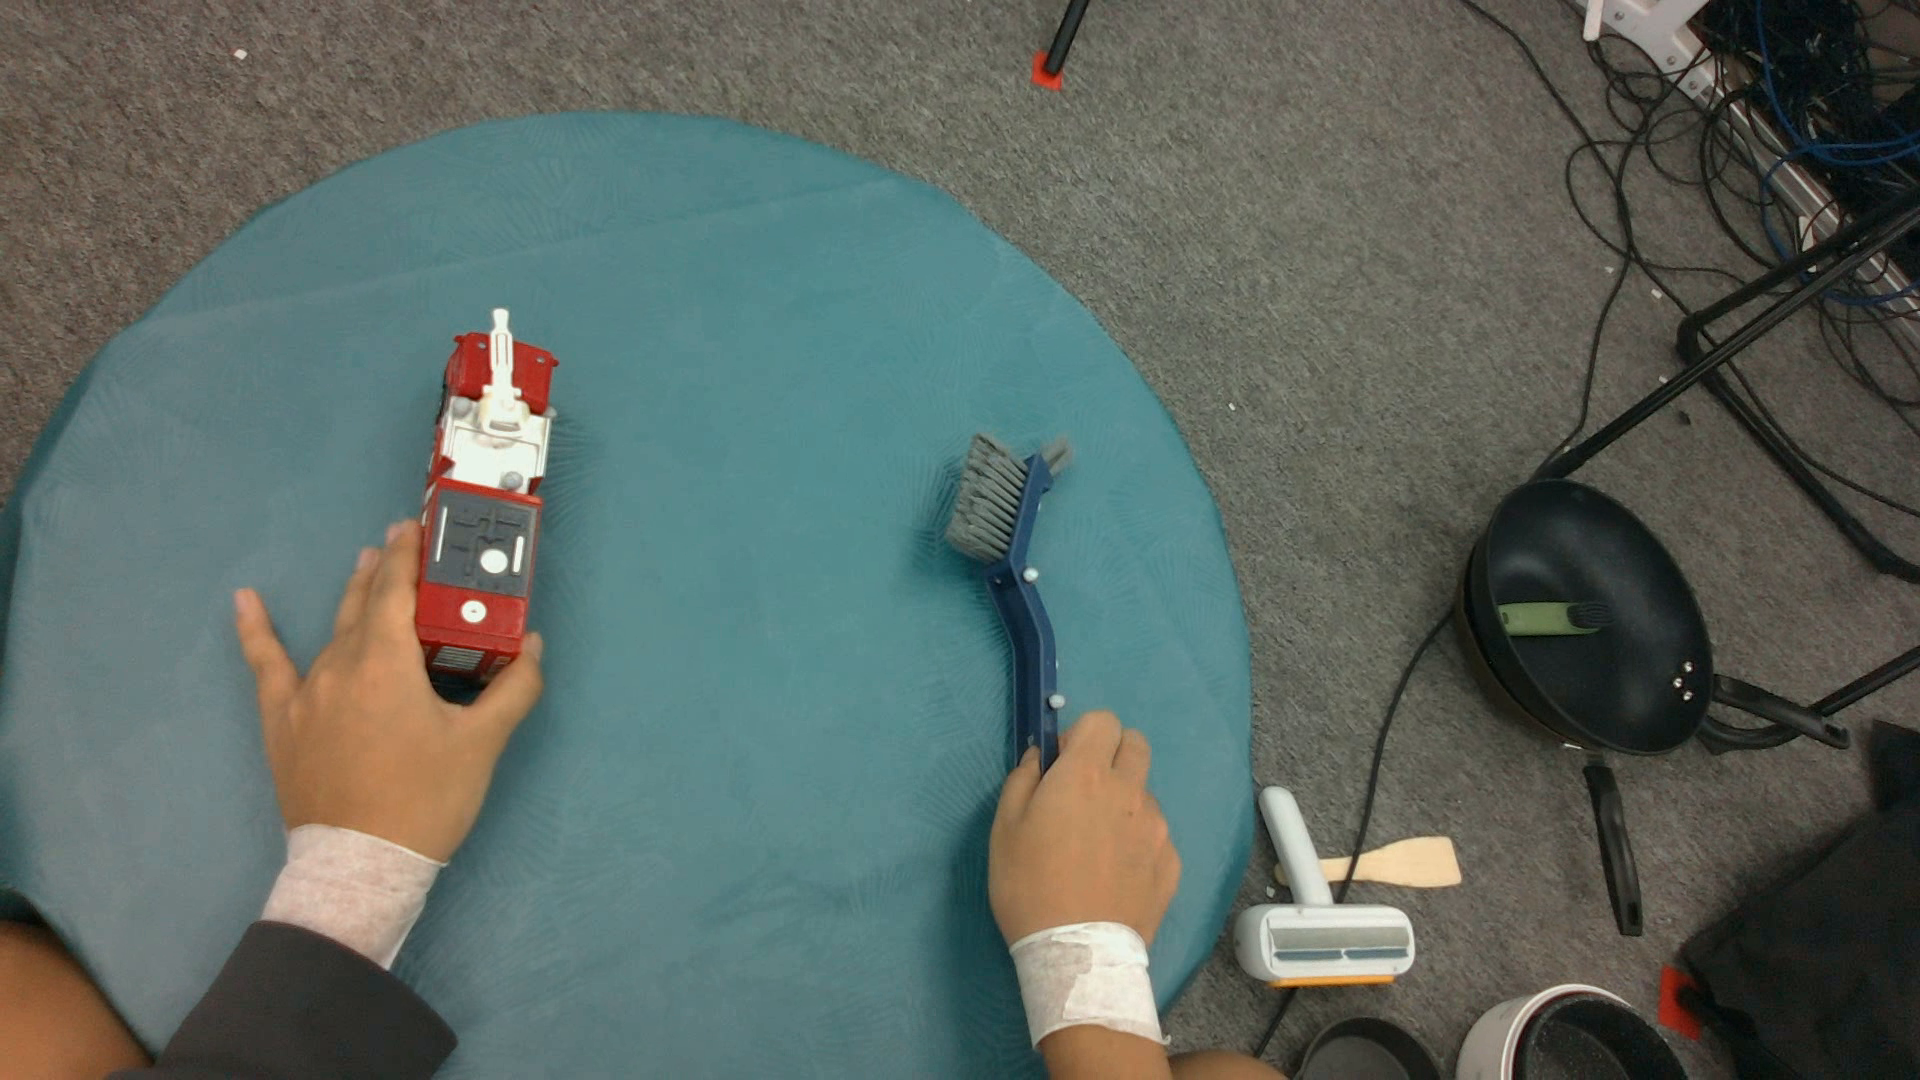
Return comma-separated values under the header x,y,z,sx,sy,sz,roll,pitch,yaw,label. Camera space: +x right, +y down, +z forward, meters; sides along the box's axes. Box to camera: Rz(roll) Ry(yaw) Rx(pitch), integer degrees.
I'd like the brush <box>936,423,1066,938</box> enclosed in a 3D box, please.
x,y,z,sx,sy,sz,roll,pitch,yaw,label
0.036,0.063,0.712,0.096,0.033,0.274,9,64,-38,brush

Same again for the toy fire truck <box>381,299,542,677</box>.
x,y,z,sx,sy,sz,roll,pitch,yaw,label
-0.228,-0.023,0.632,0.054,0.070,0.168,10,64,-27,toy fire truck
